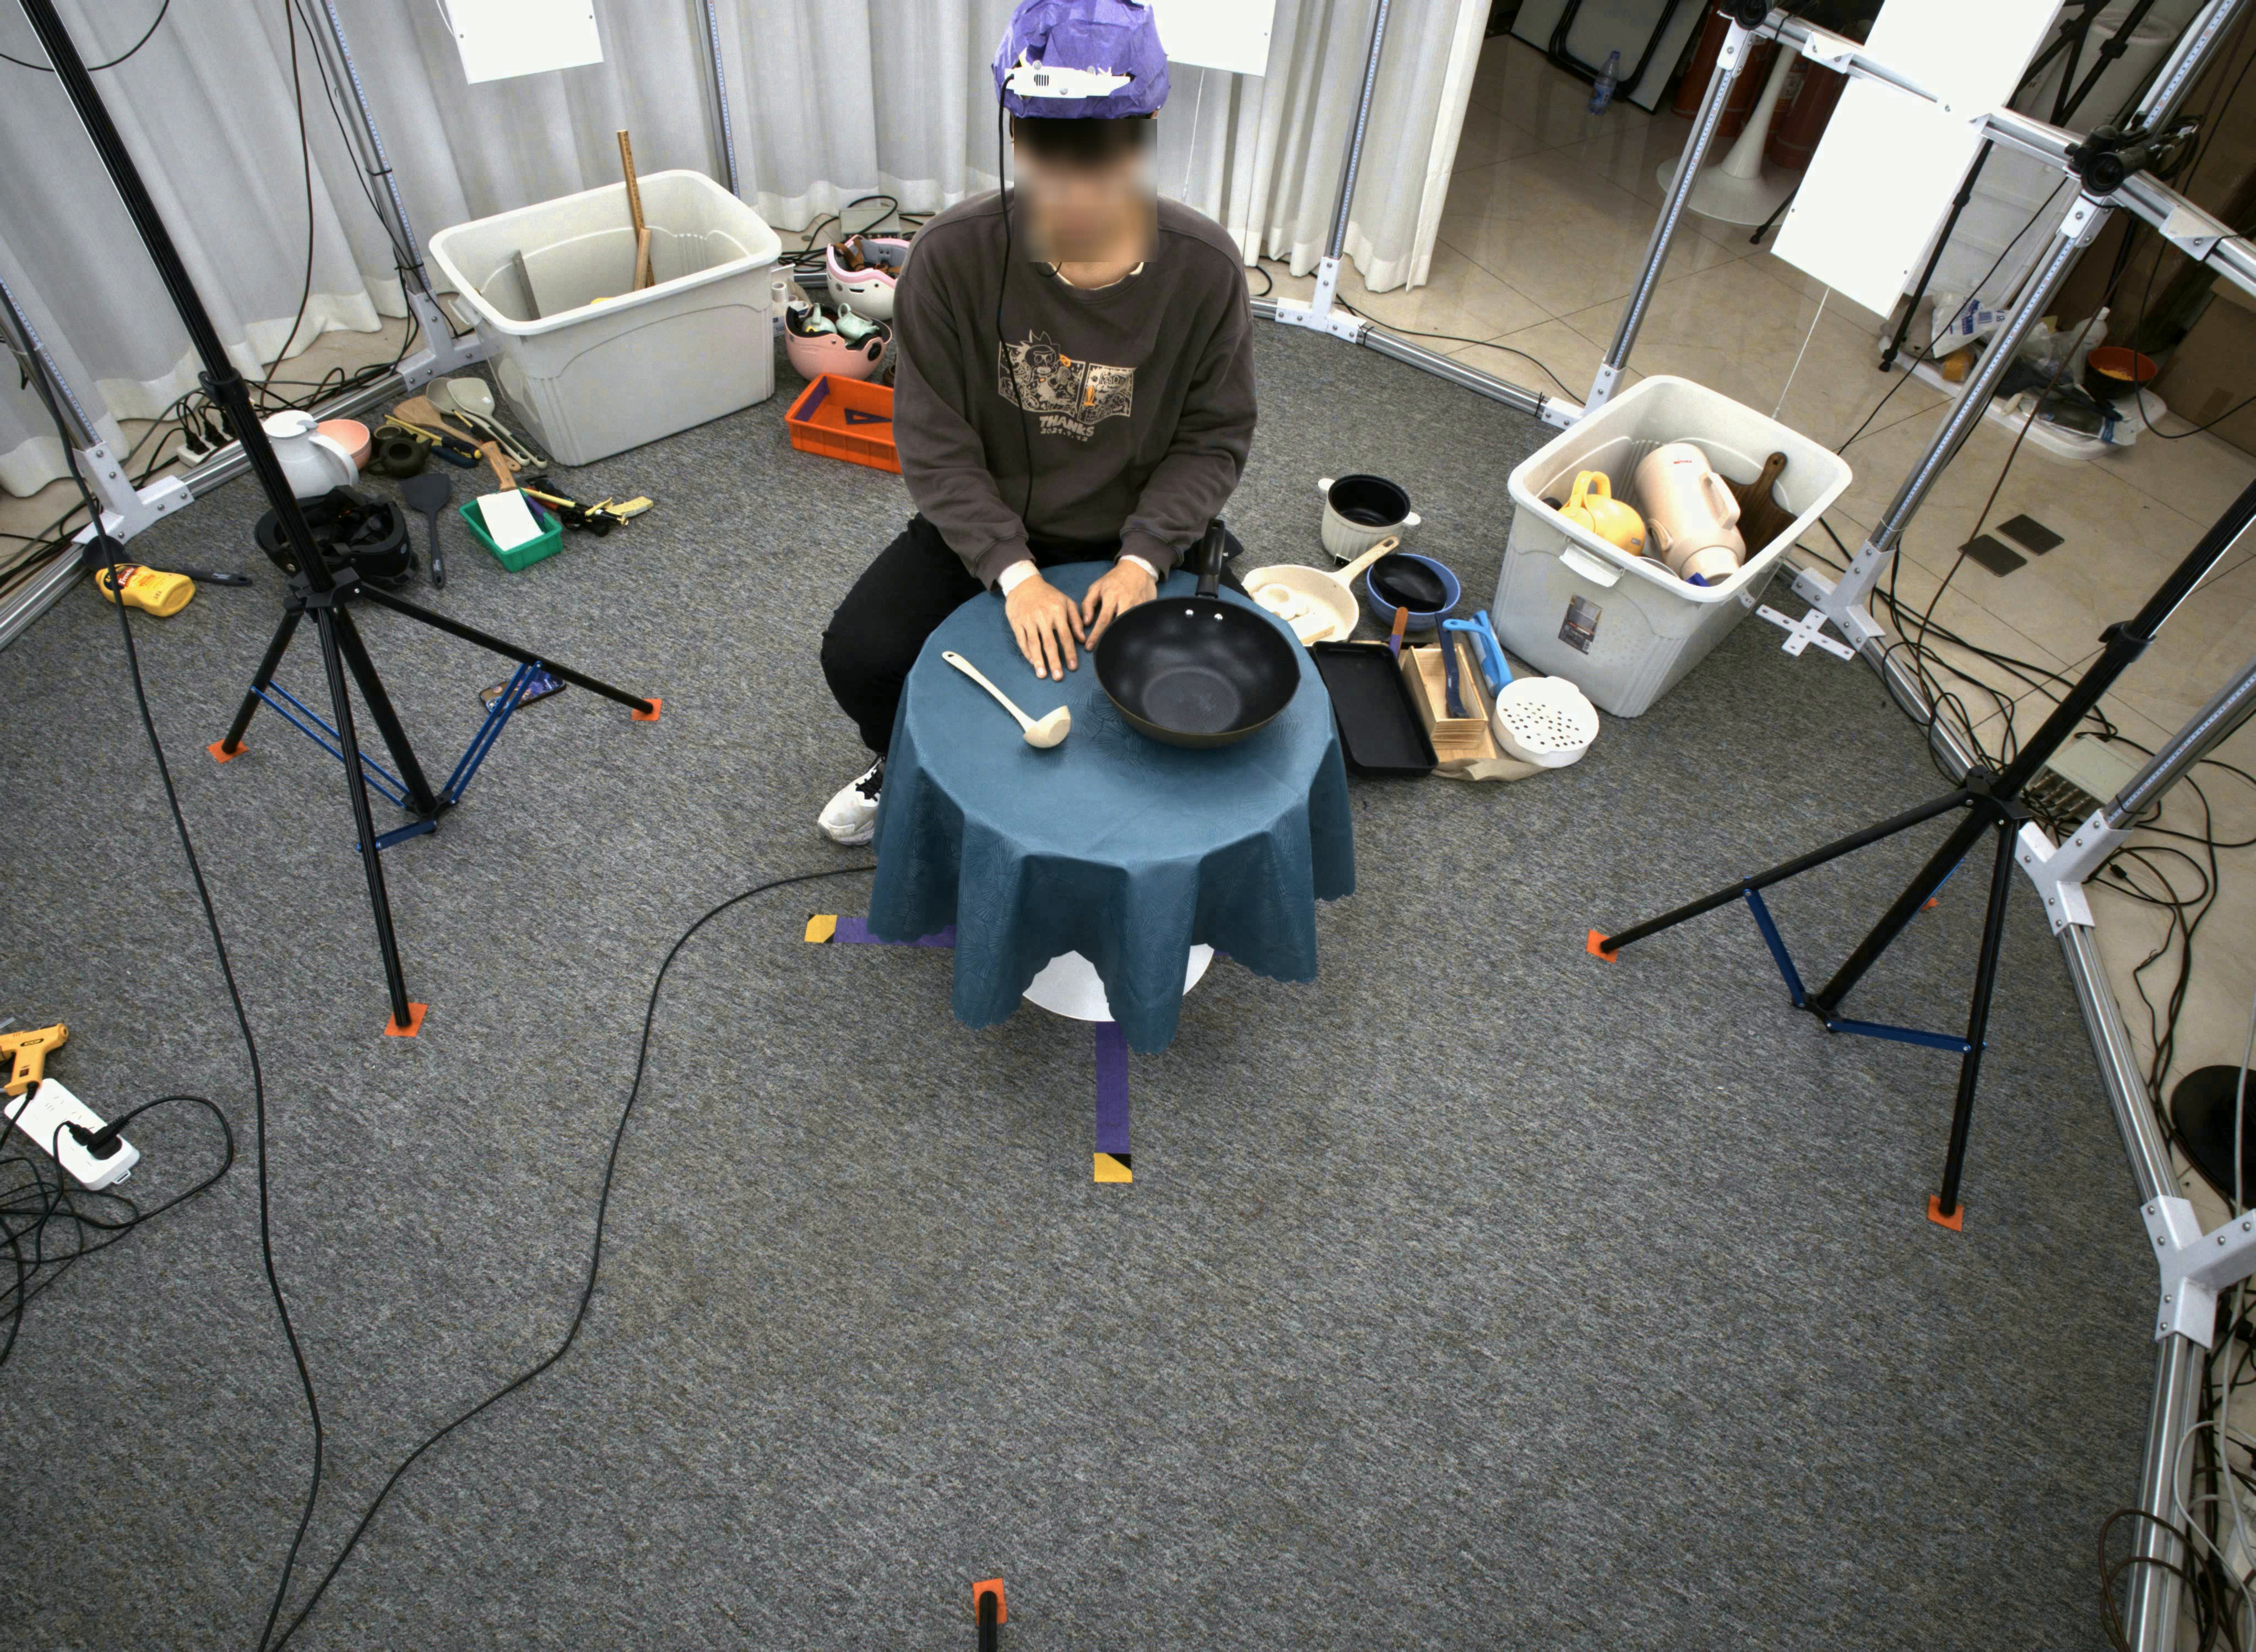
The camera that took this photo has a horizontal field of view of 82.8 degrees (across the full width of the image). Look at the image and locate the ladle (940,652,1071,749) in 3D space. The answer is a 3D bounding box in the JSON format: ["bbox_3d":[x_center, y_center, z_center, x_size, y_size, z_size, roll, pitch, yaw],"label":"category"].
[{"bbox_3d":[-0.179,-0.196,1.778,0.073,0.071,0.258,-35,60,-27],"label":"ladle"}]

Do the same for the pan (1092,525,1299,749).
[{"bbox_3d":[0.103,-0.269,1.853,0.288,0.085,0.474,8,48,3],"label":"pan"}]
